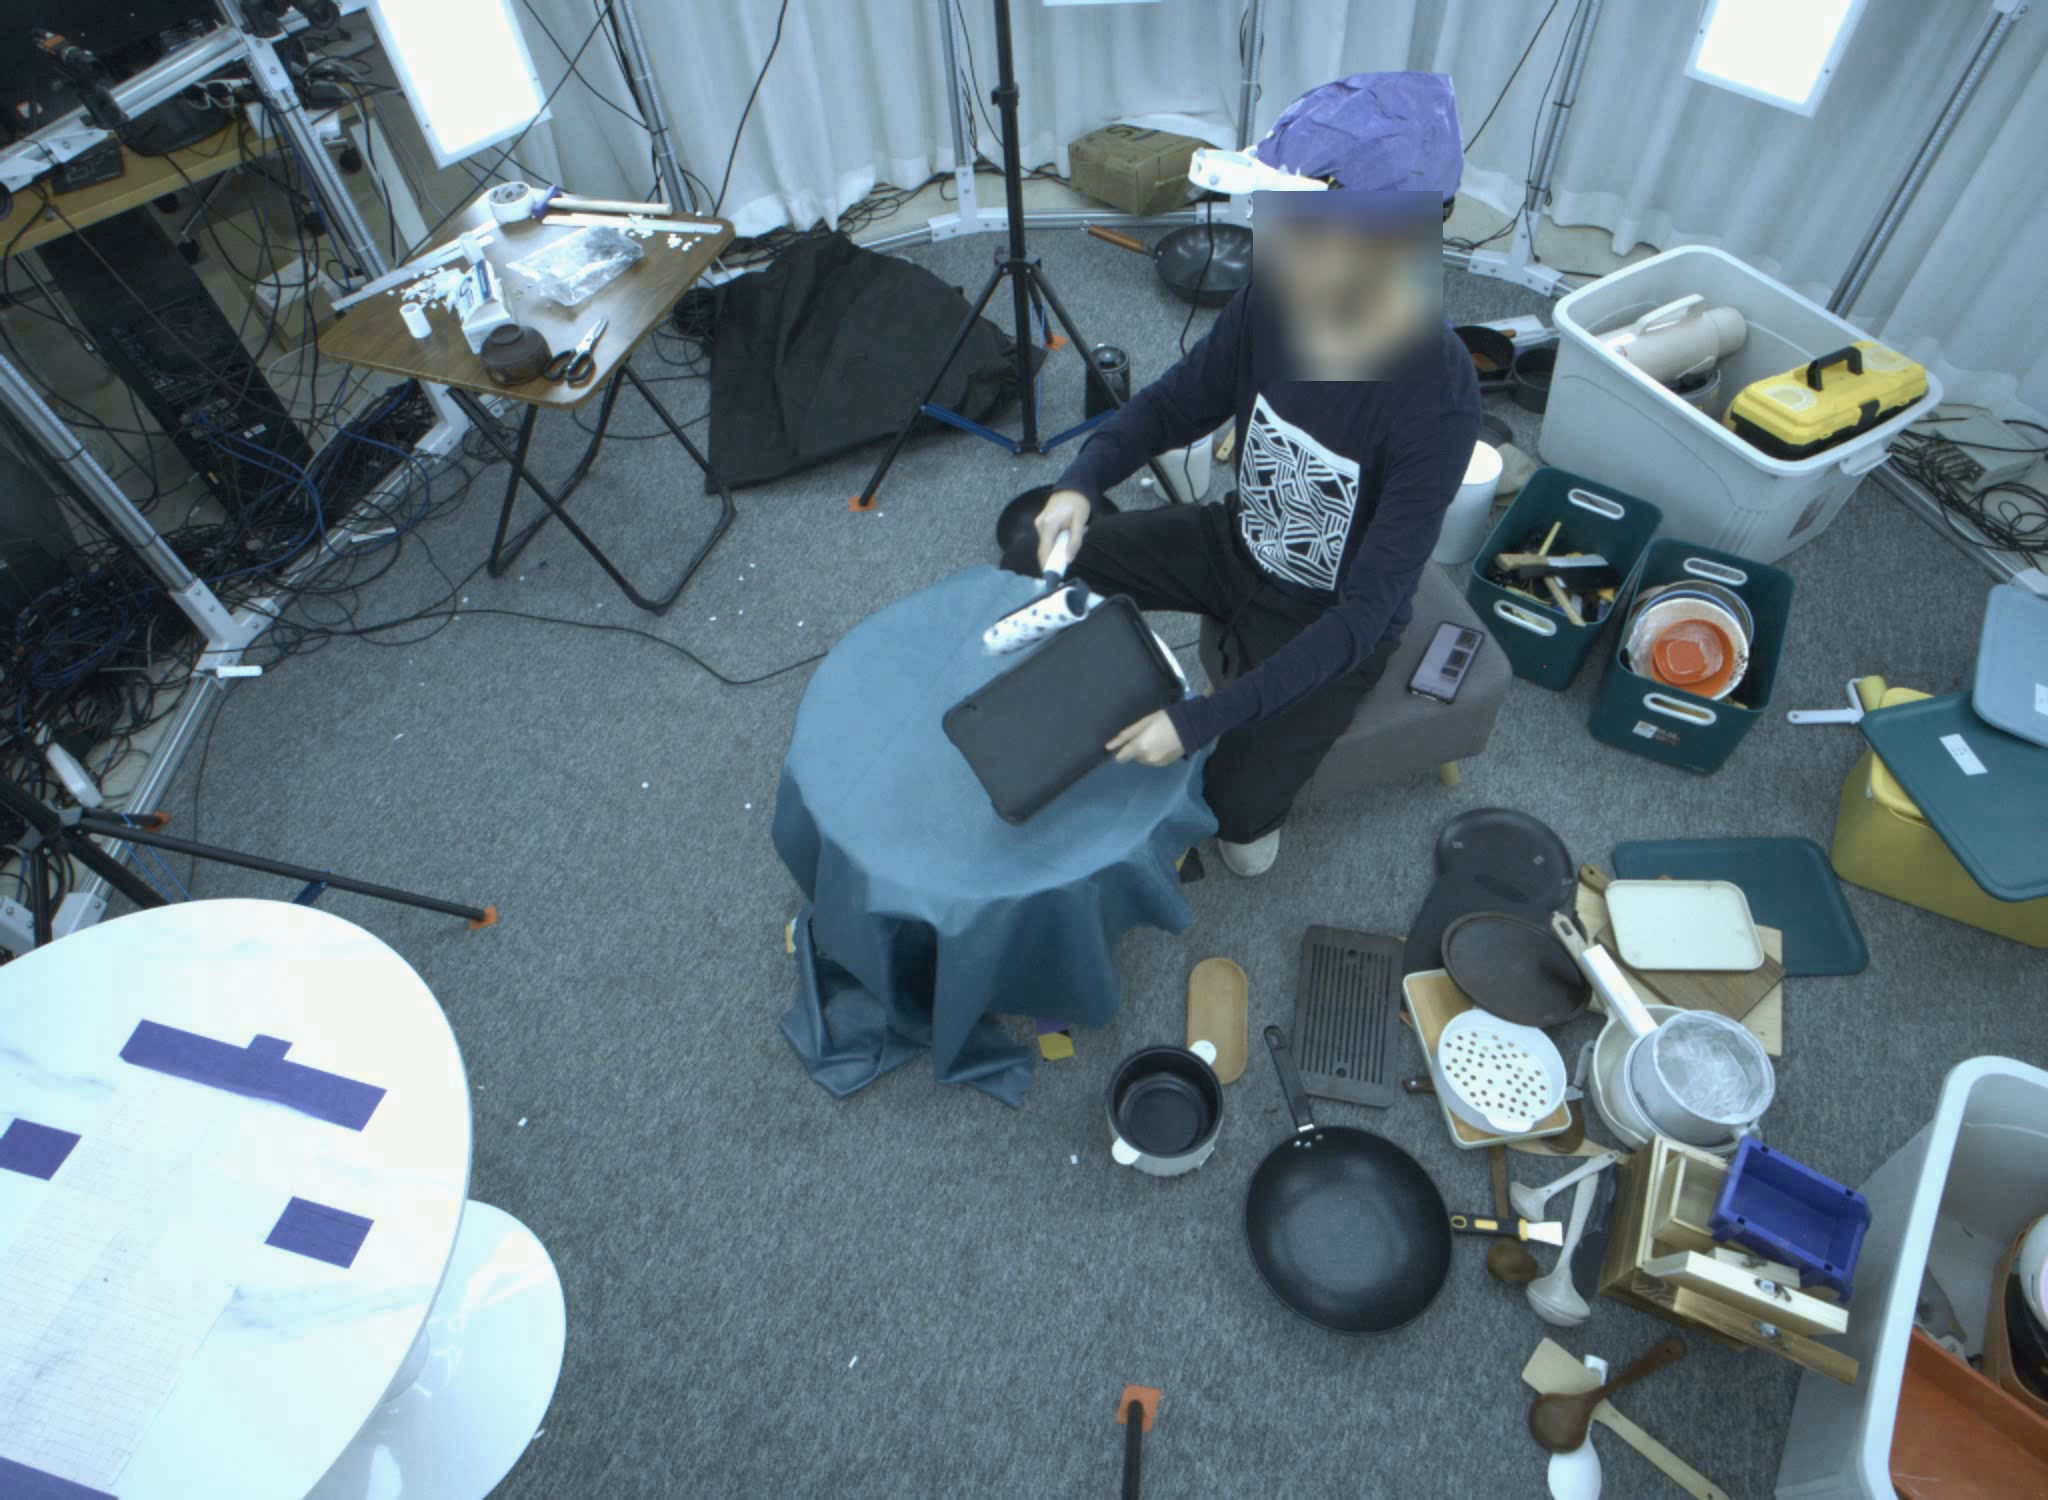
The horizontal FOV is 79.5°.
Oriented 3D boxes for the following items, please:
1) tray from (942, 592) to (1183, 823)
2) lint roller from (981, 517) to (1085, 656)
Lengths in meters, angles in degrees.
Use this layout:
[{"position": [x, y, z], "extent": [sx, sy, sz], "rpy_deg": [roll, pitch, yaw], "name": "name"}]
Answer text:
[{"position": [0.056, -0.060, 1.670], "extent": [0.320, 0.186, 0.036], "rpy_deg": [-37, 18, -17], "name": "tray"}, {"position": [0.036, -0.252, 1.745], "extent": [0.173, 0.051, 0.246], "rpy_deg": [-22, 37, 43], "name": "lint roller"}]
